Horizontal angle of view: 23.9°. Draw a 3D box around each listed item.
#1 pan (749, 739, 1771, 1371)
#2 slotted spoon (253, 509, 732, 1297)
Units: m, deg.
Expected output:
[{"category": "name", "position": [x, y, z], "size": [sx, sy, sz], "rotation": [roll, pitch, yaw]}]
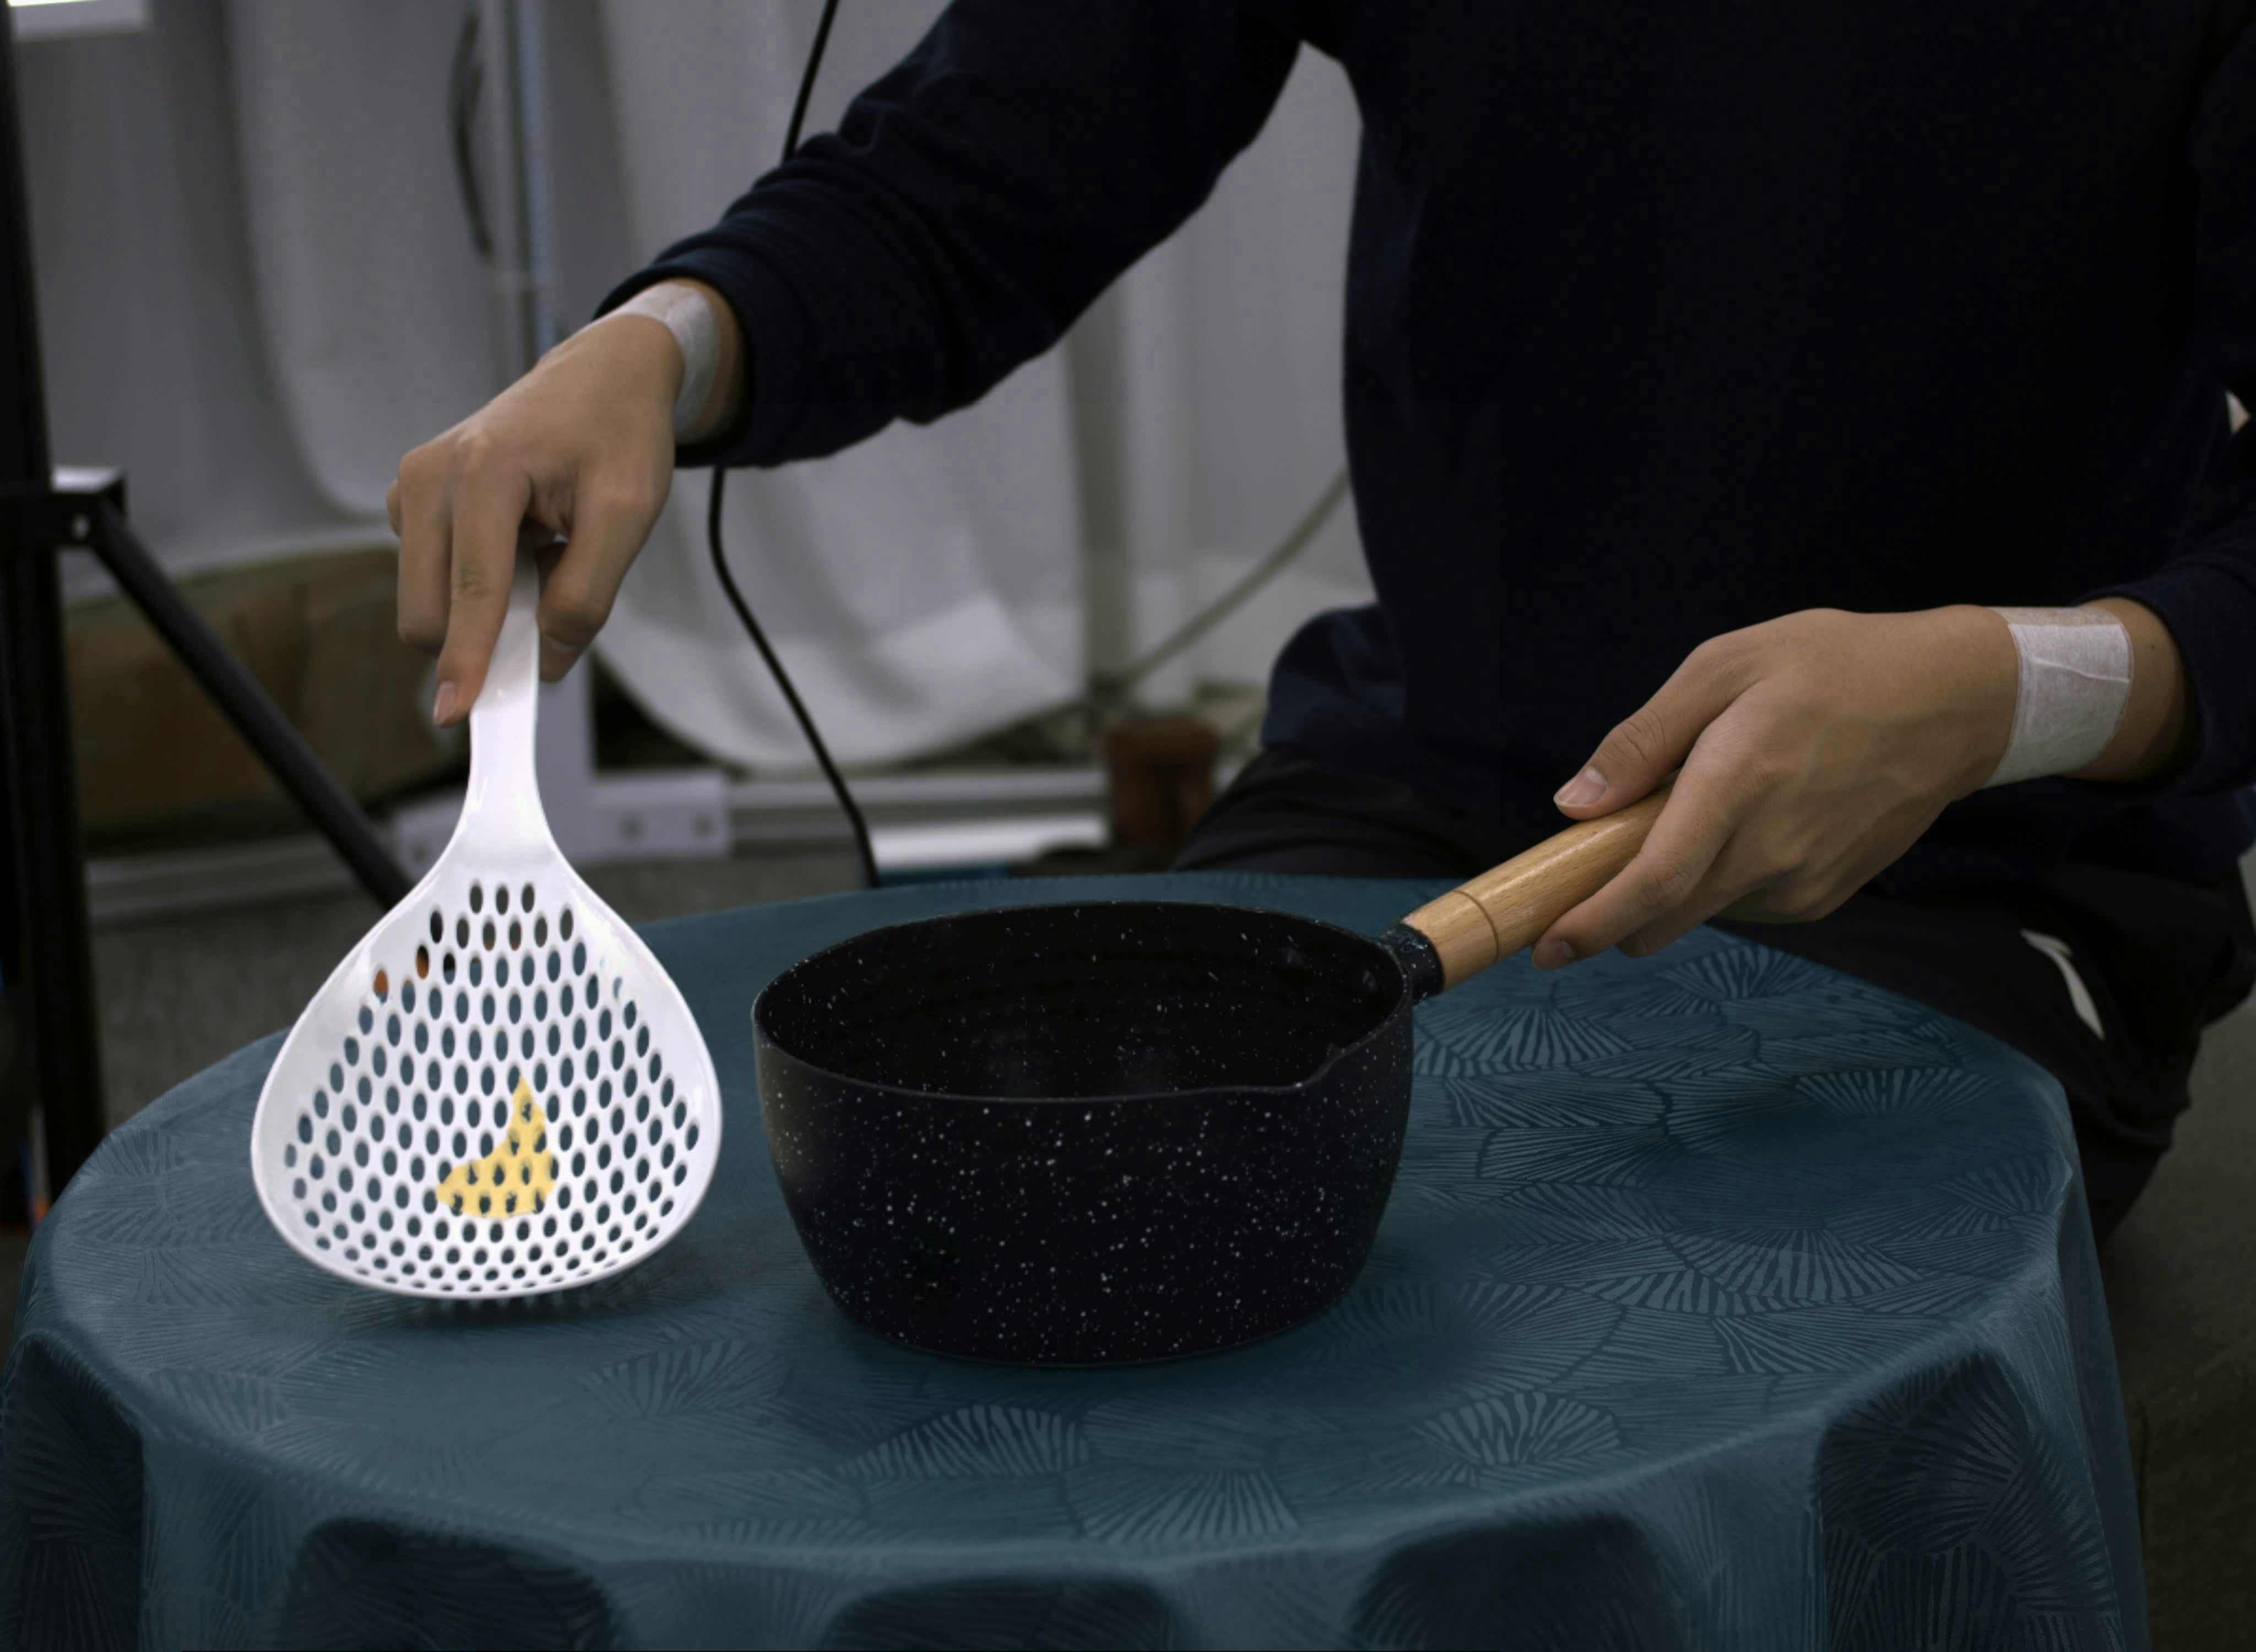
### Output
[{"category": "pan", "position": [0.052, 0.060, 1.521], "size": [0.335, 0.108, 0.212], "rotation": [-15, 19, -33]}, {"category": "slotted spoon", "position": [-0.191, 0.013, 1.610], "size": [0.136, 0.050, 0.352], "rotation": [-4, 49, -2]}]
